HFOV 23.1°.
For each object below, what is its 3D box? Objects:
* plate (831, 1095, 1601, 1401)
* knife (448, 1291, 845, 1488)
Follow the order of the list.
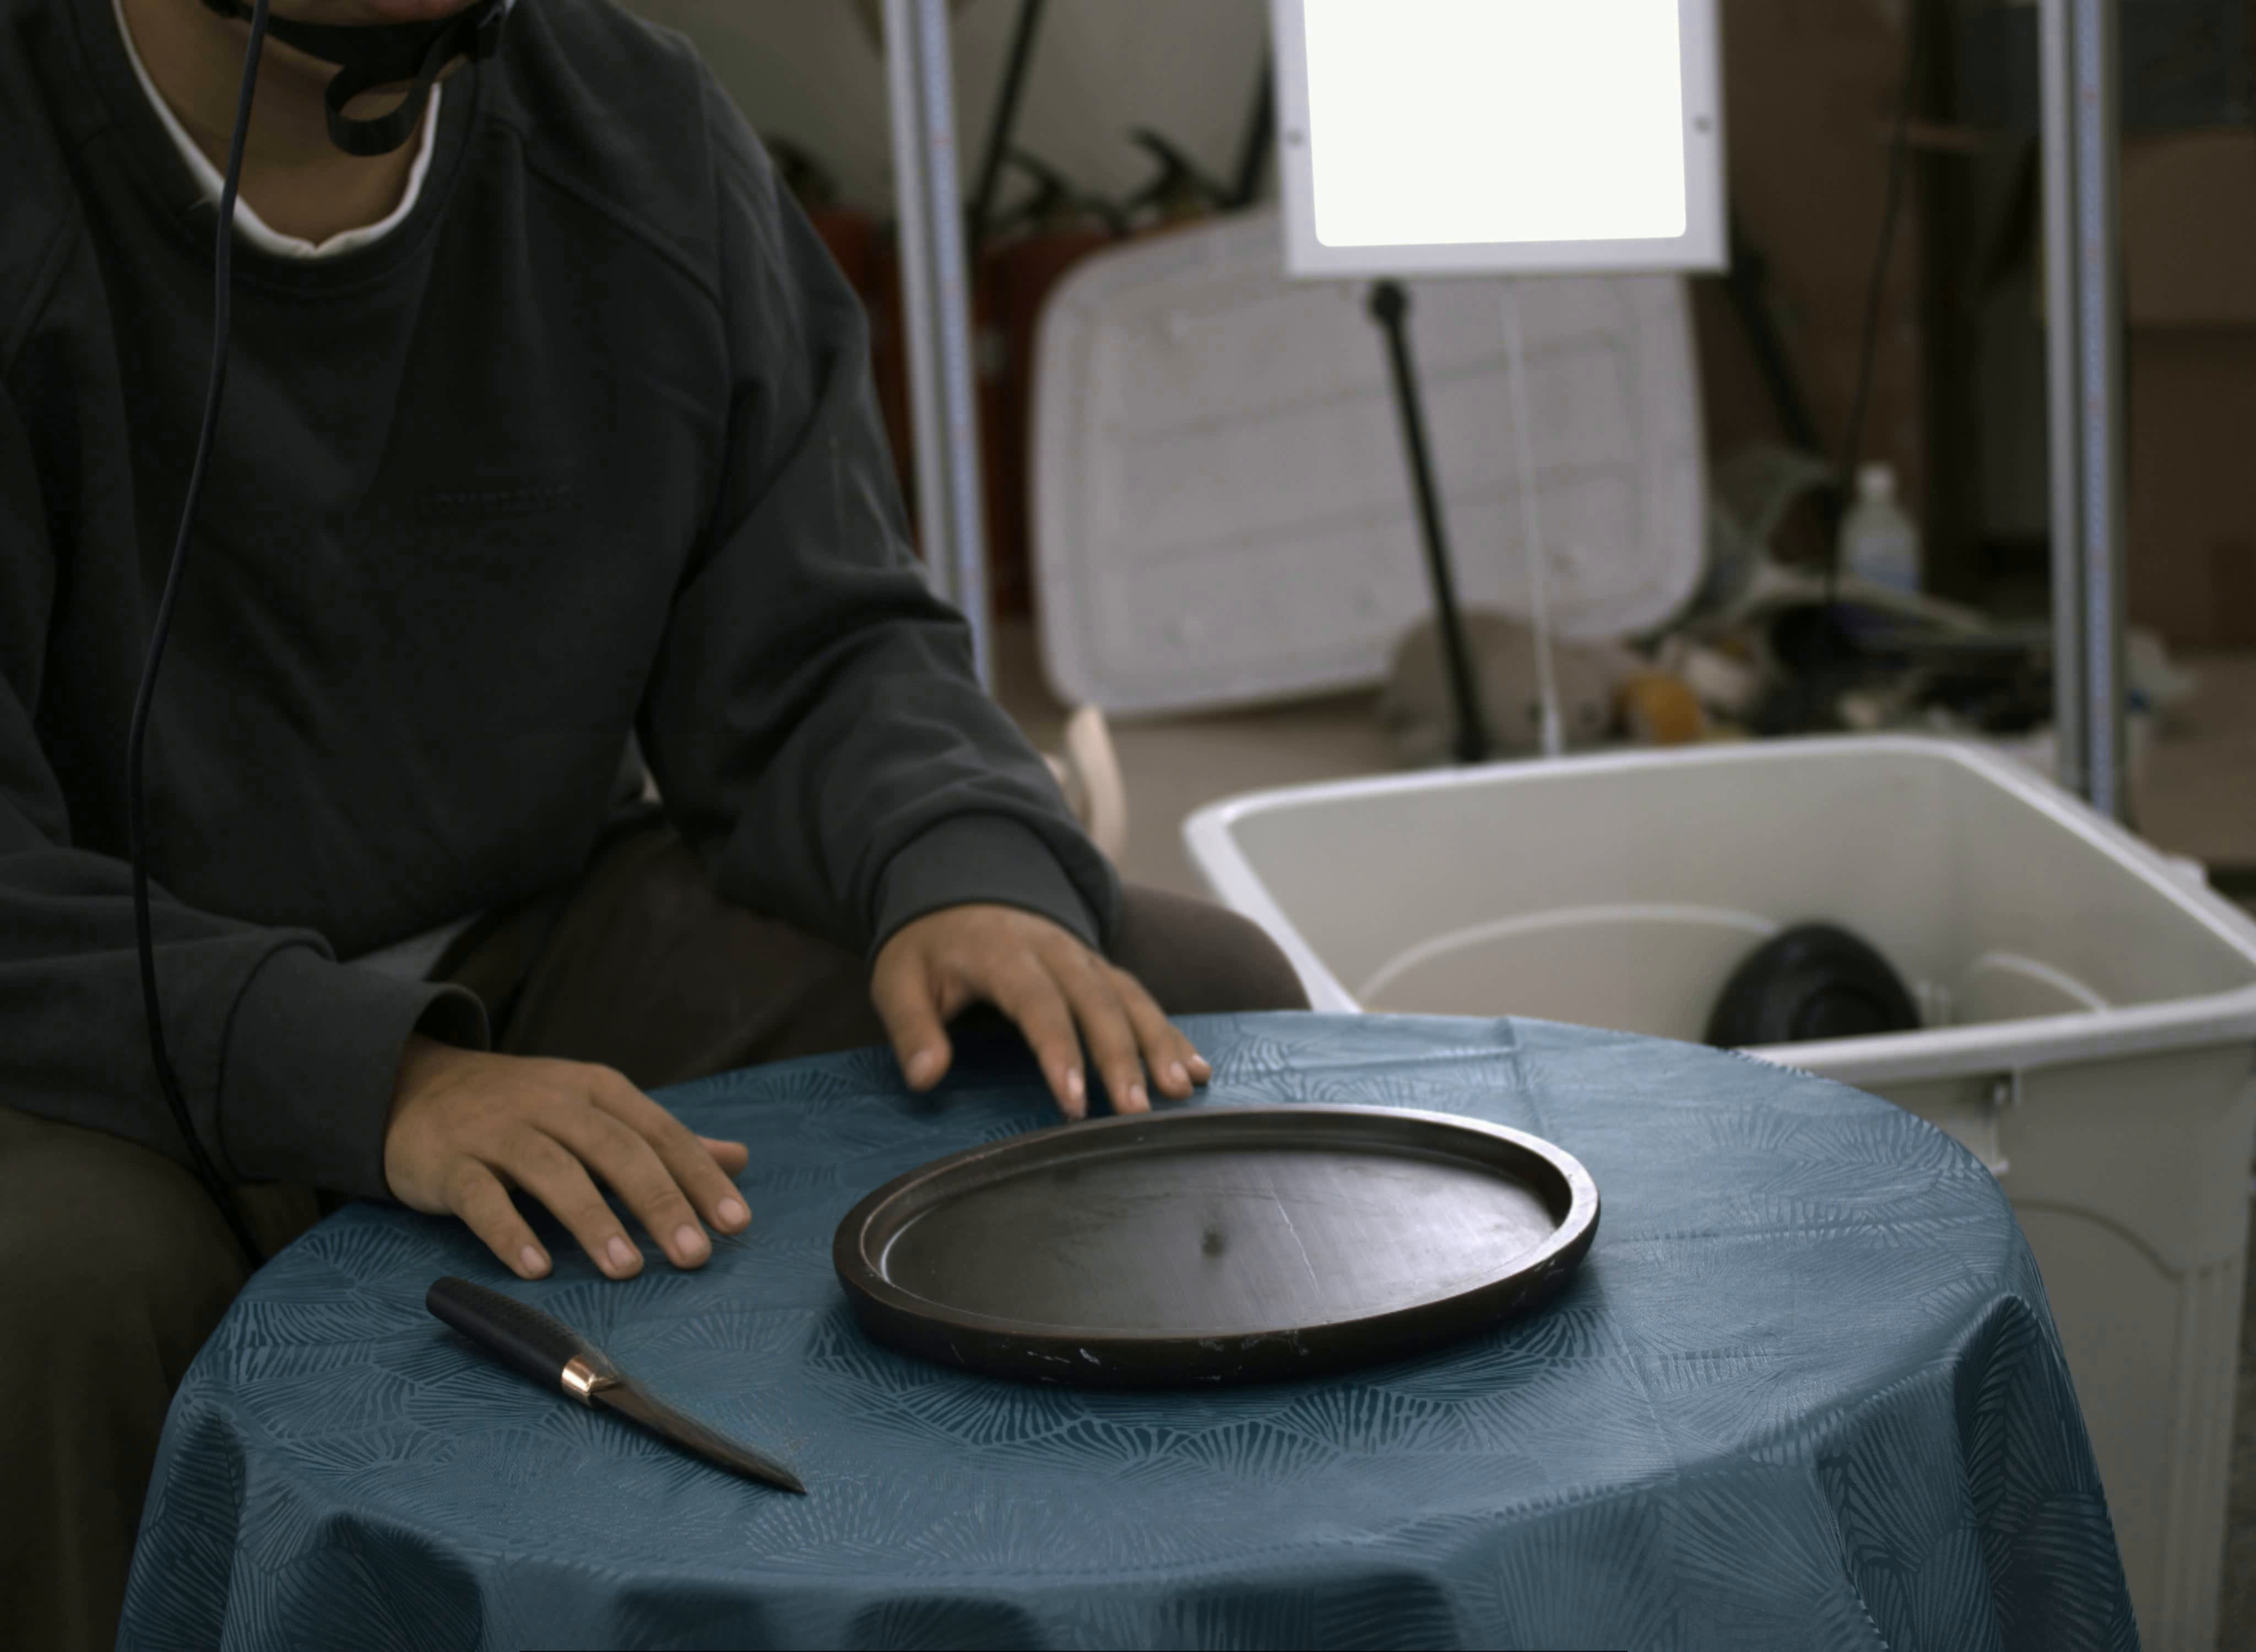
[{"bbox_3d":[0.029,0.136,1.801,0.254,0.029,0.254,-7,13,0],"label":"plate"},{"bbox_3d":[-0.153,0.177,1.724,0.025,0.017,0.230,-7,13,-33],"label":"knife"}]
